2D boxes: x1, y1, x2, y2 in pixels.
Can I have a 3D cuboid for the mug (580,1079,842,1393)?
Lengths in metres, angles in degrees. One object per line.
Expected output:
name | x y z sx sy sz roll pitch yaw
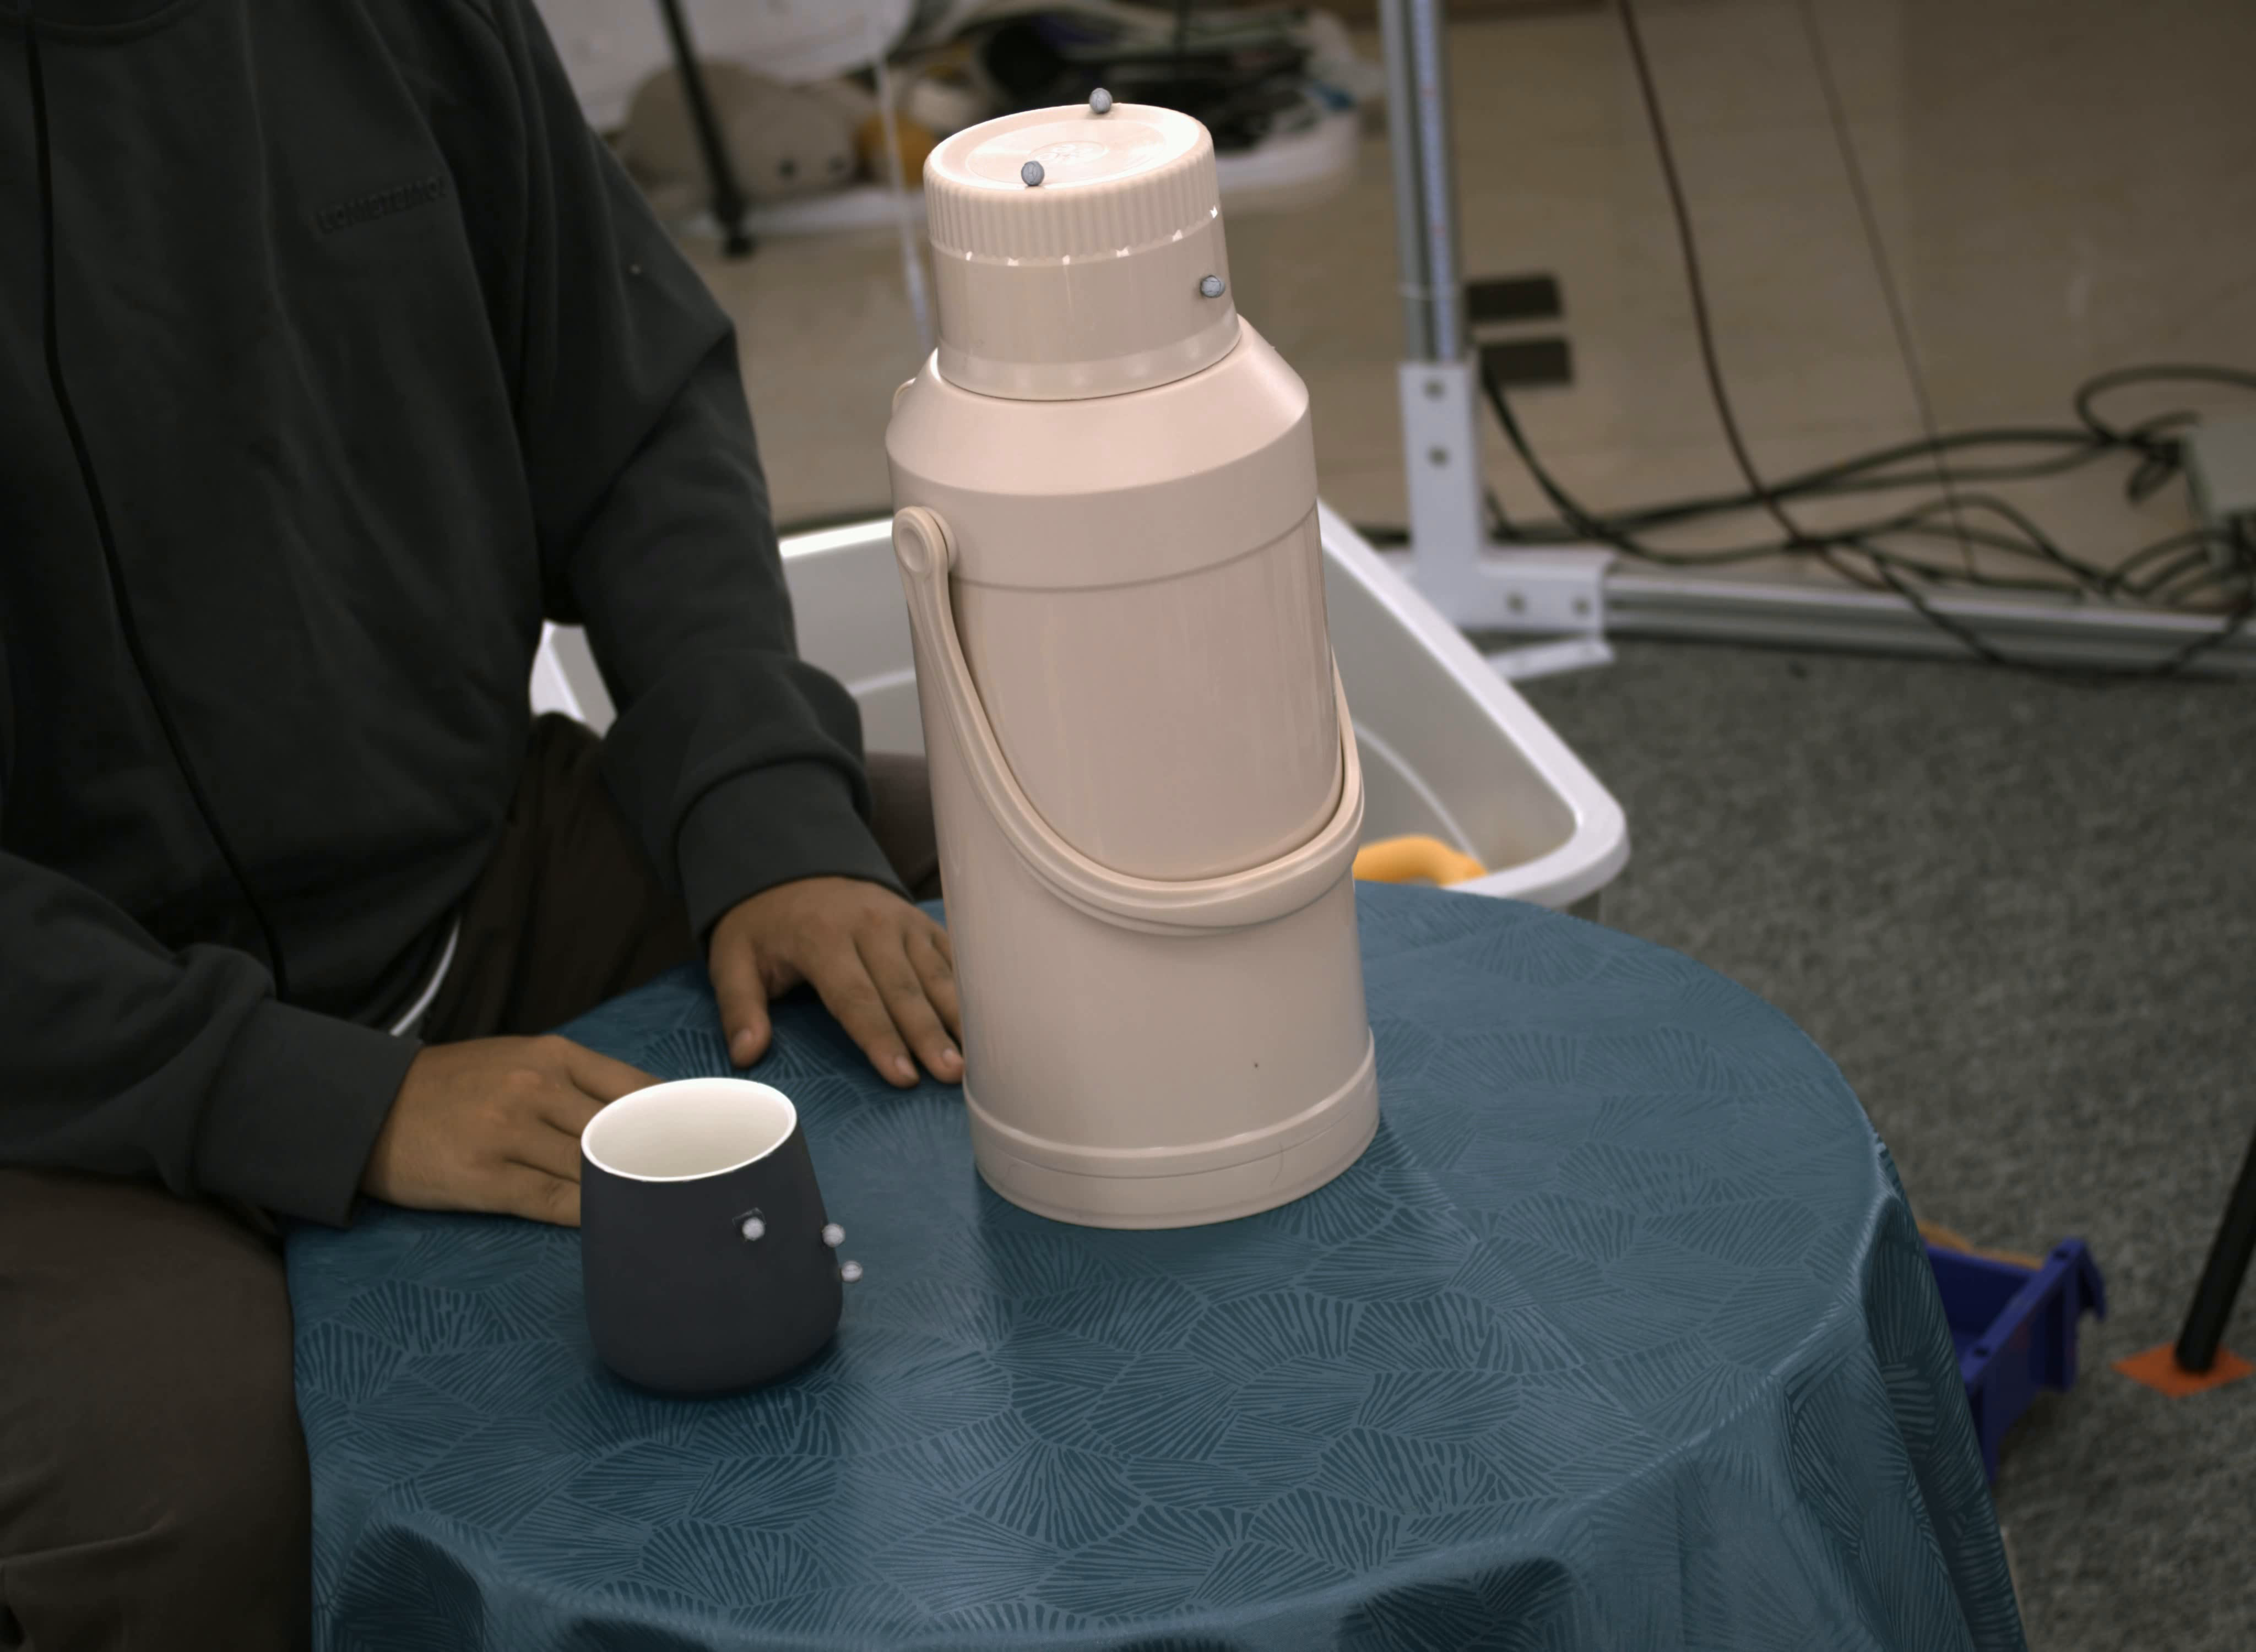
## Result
mug | -0.161 0.144 2.066 0.093 0.091 0.122 -19 27 -25

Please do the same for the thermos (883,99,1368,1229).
thermos | -0.011 -0.065 2.113 0.174 0.413 0.205 -24 31 -32
